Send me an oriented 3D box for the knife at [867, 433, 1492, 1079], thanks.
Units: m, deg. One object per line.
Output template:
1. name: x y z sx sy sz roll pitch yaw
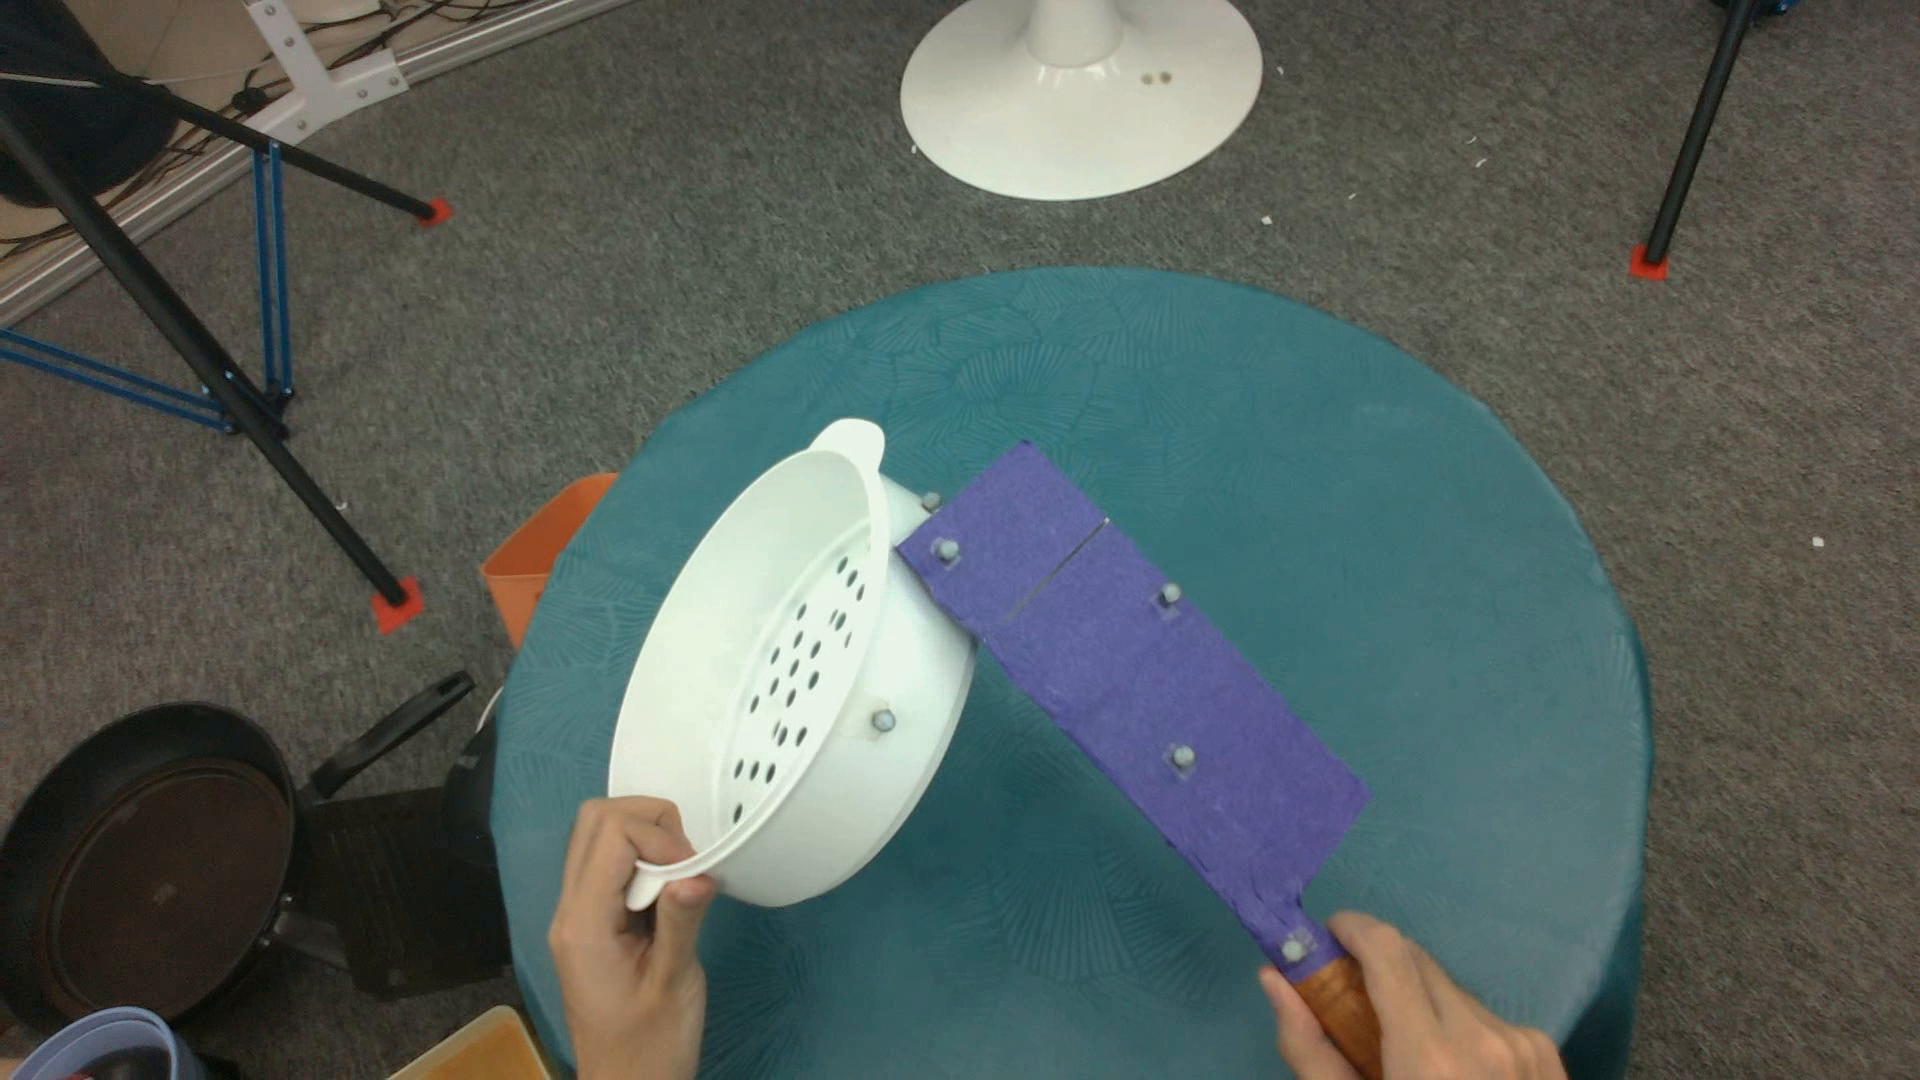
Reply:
1. knife: 0.102 0.083 0.545 0.315 0.032 0.104 47 55 3

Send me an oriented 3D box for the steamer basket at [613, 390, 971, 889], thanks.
1. steamer basket: -0.076 0.049 0.612 0.201 0.069 0.231 17 82 59
